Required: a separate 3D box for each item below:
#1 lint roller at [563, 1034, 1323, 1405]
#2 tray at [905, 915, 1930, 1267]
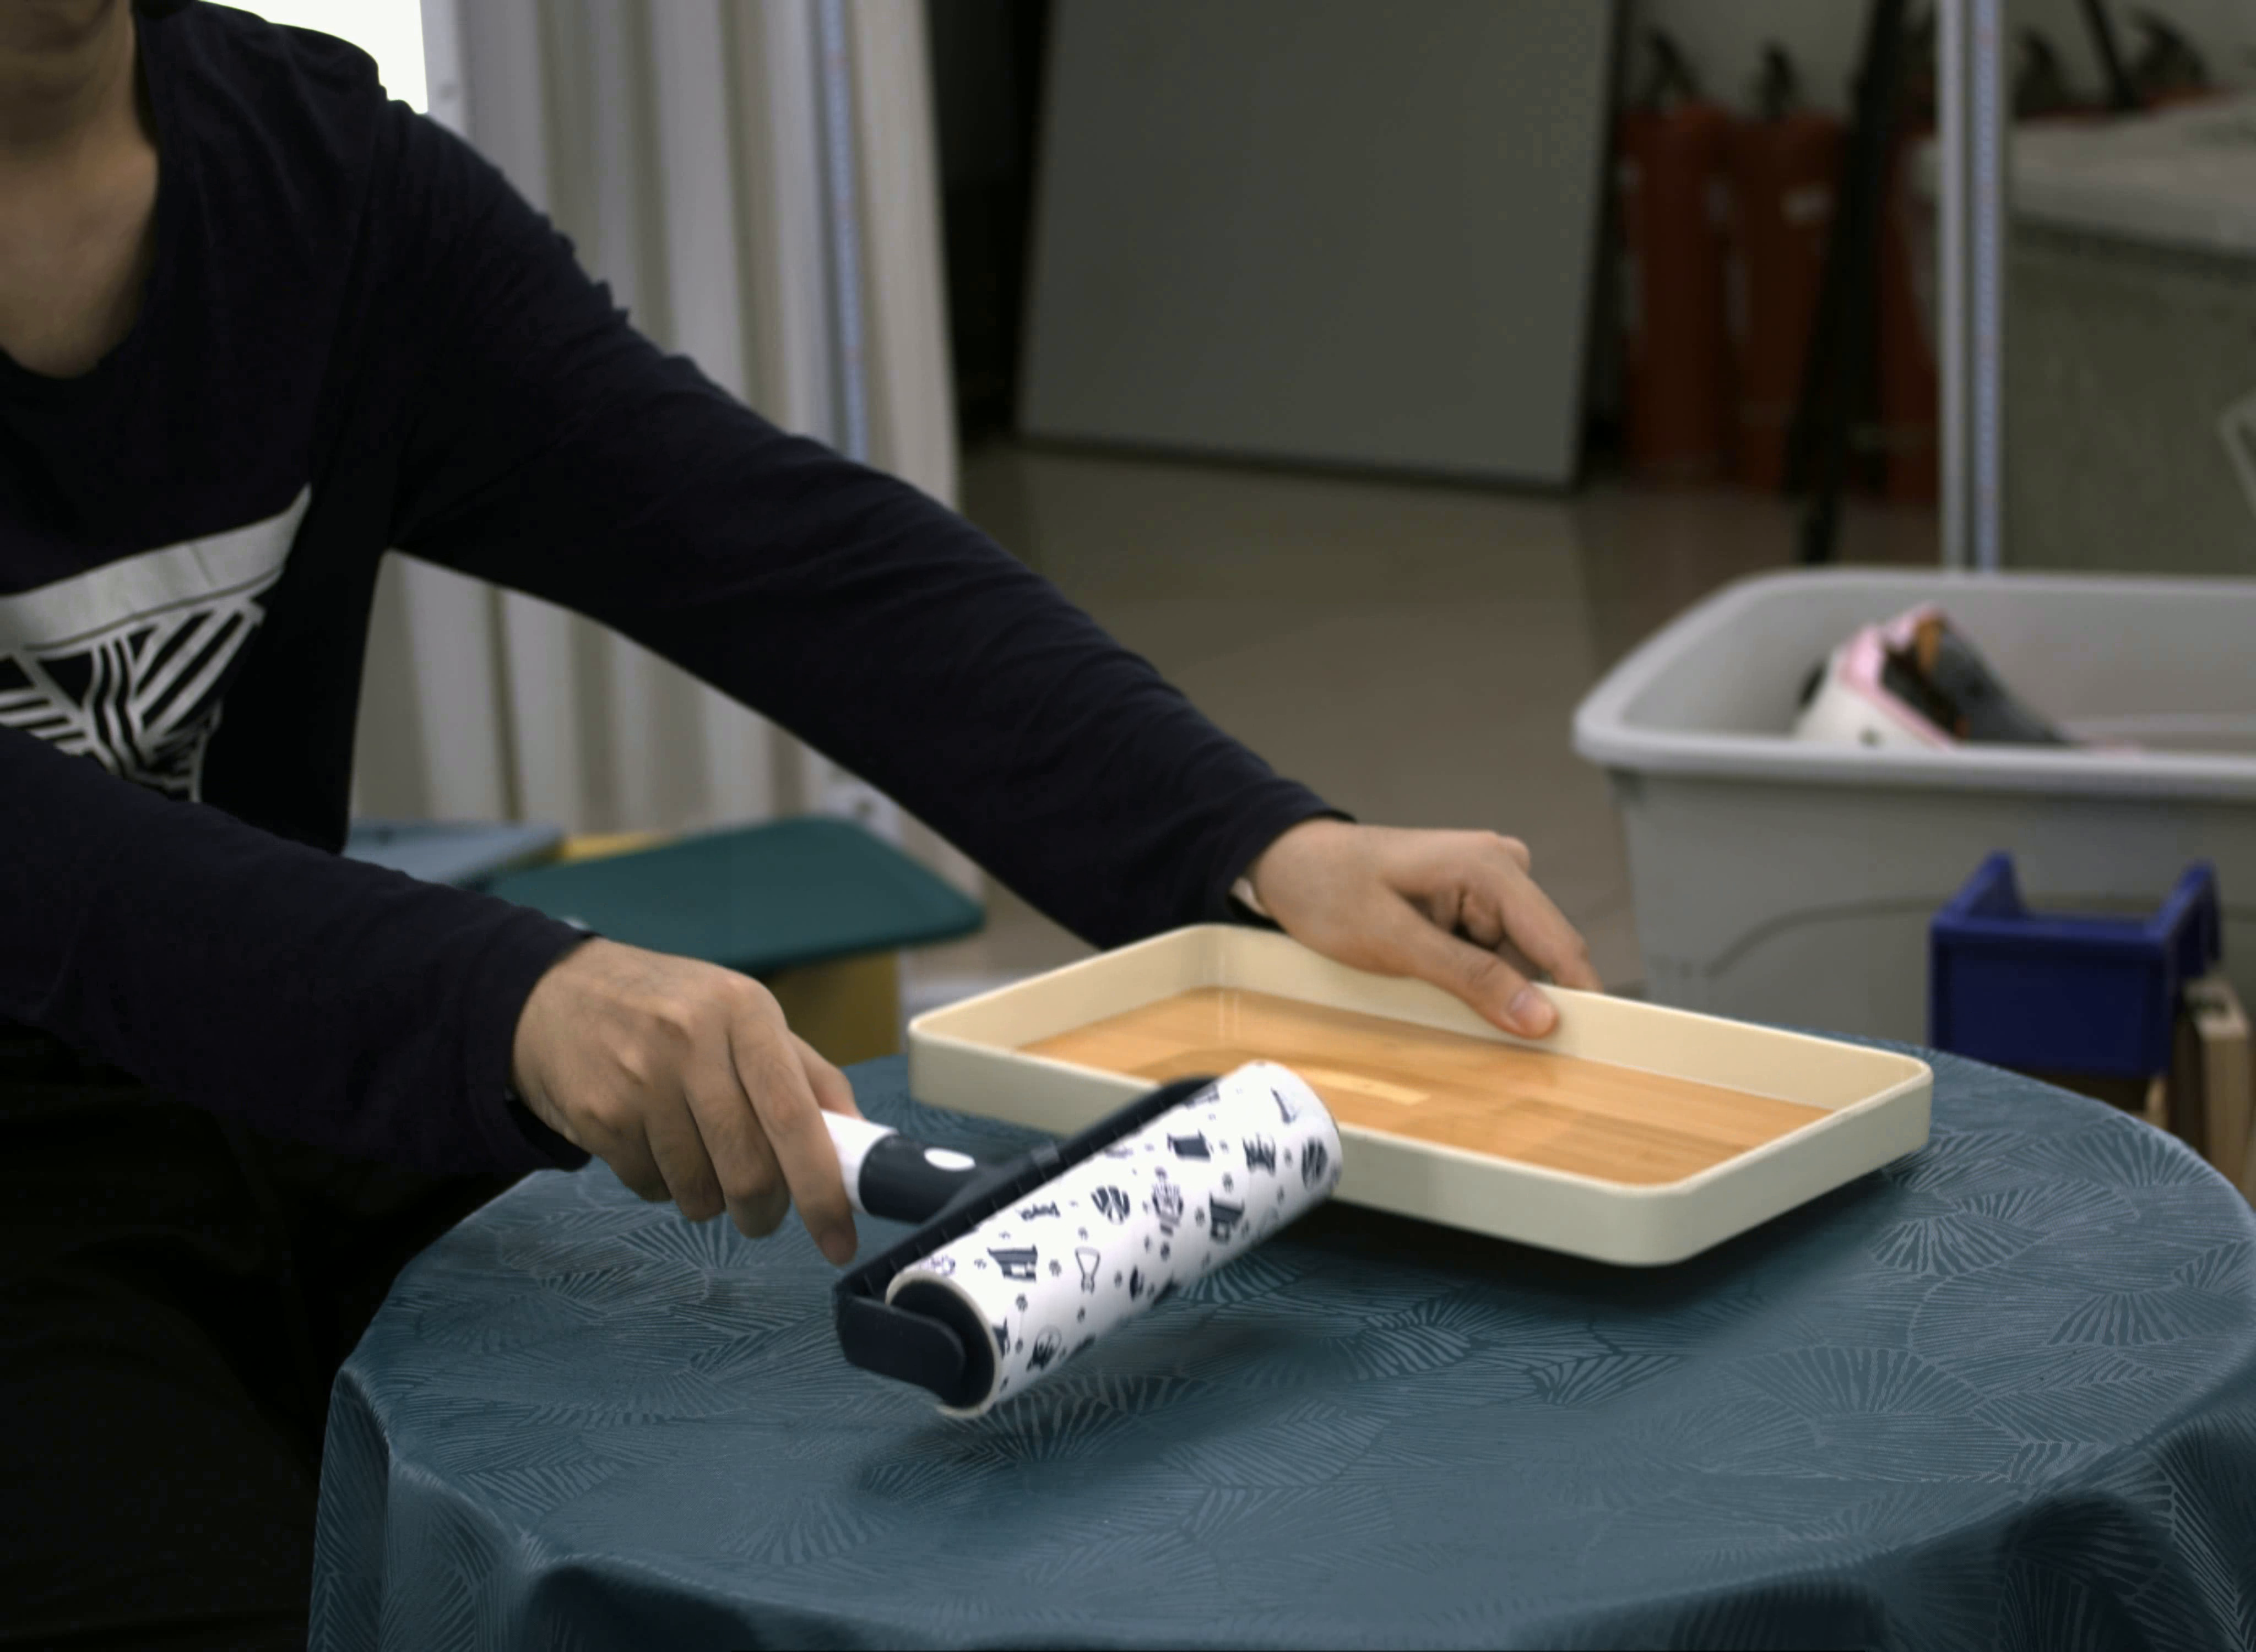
[{"bbox_3d":[-0.083,0.100,1.645,0.249,0.051,0.173,11,29,38],"label":"lint roller"},{"bbox_3d":[0.093,0.082,1.764,0.302,0.028,0.188,11,17,37],"label":"tray"}]
